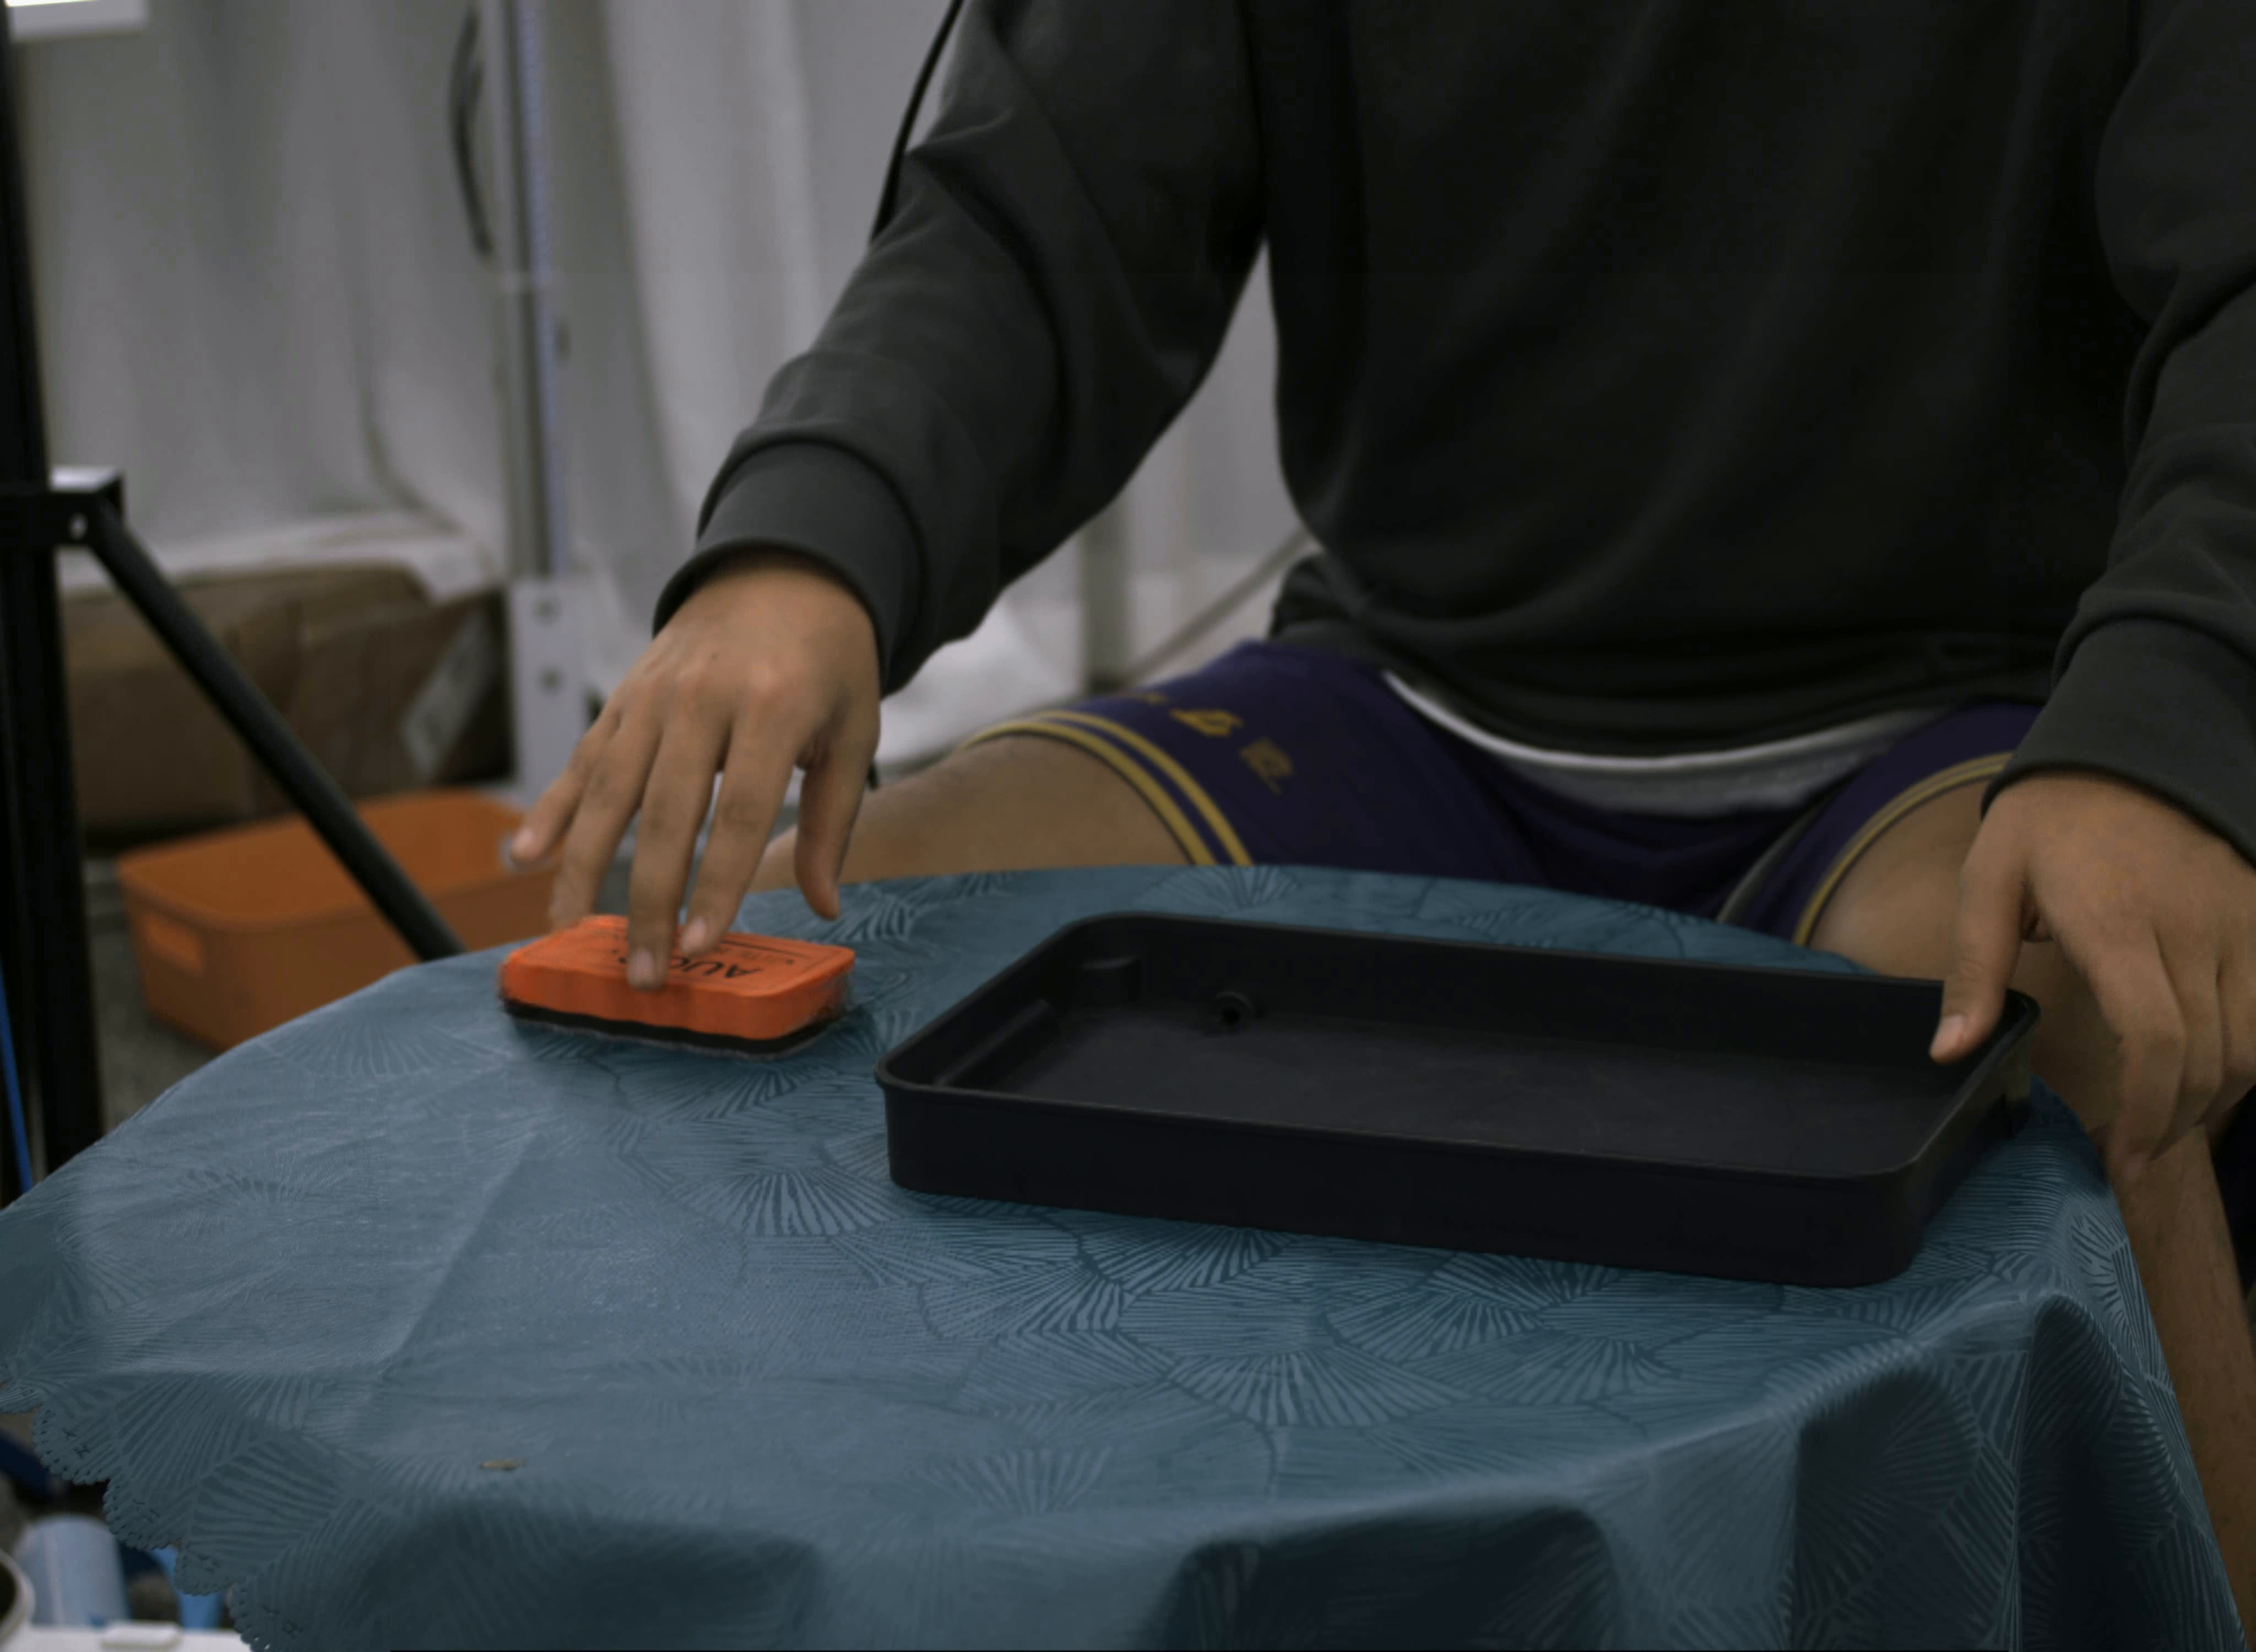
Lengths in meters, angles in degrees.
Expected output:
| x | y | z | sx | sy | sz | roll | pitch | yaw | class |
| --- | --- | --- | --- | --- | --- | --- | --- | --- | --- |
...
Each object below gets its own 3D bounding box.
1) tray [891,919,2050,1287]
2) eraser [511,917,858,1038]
| x | y | z | sx | sy | sz | roll | pitch | yaw | class |
| --- | --- | --- | --- | --- | --- | --- | --- | --- | --- |
| 0.104 | 0.079 | 1.581 | 0.322 | 0.037 | 0.182 | 4 | 17 | 23 | tray |
| -0.145 | 0.049 | 1.738 | 0.110 | 0.023 | 0.058 | 6 | 10 | 31 | eraser |
